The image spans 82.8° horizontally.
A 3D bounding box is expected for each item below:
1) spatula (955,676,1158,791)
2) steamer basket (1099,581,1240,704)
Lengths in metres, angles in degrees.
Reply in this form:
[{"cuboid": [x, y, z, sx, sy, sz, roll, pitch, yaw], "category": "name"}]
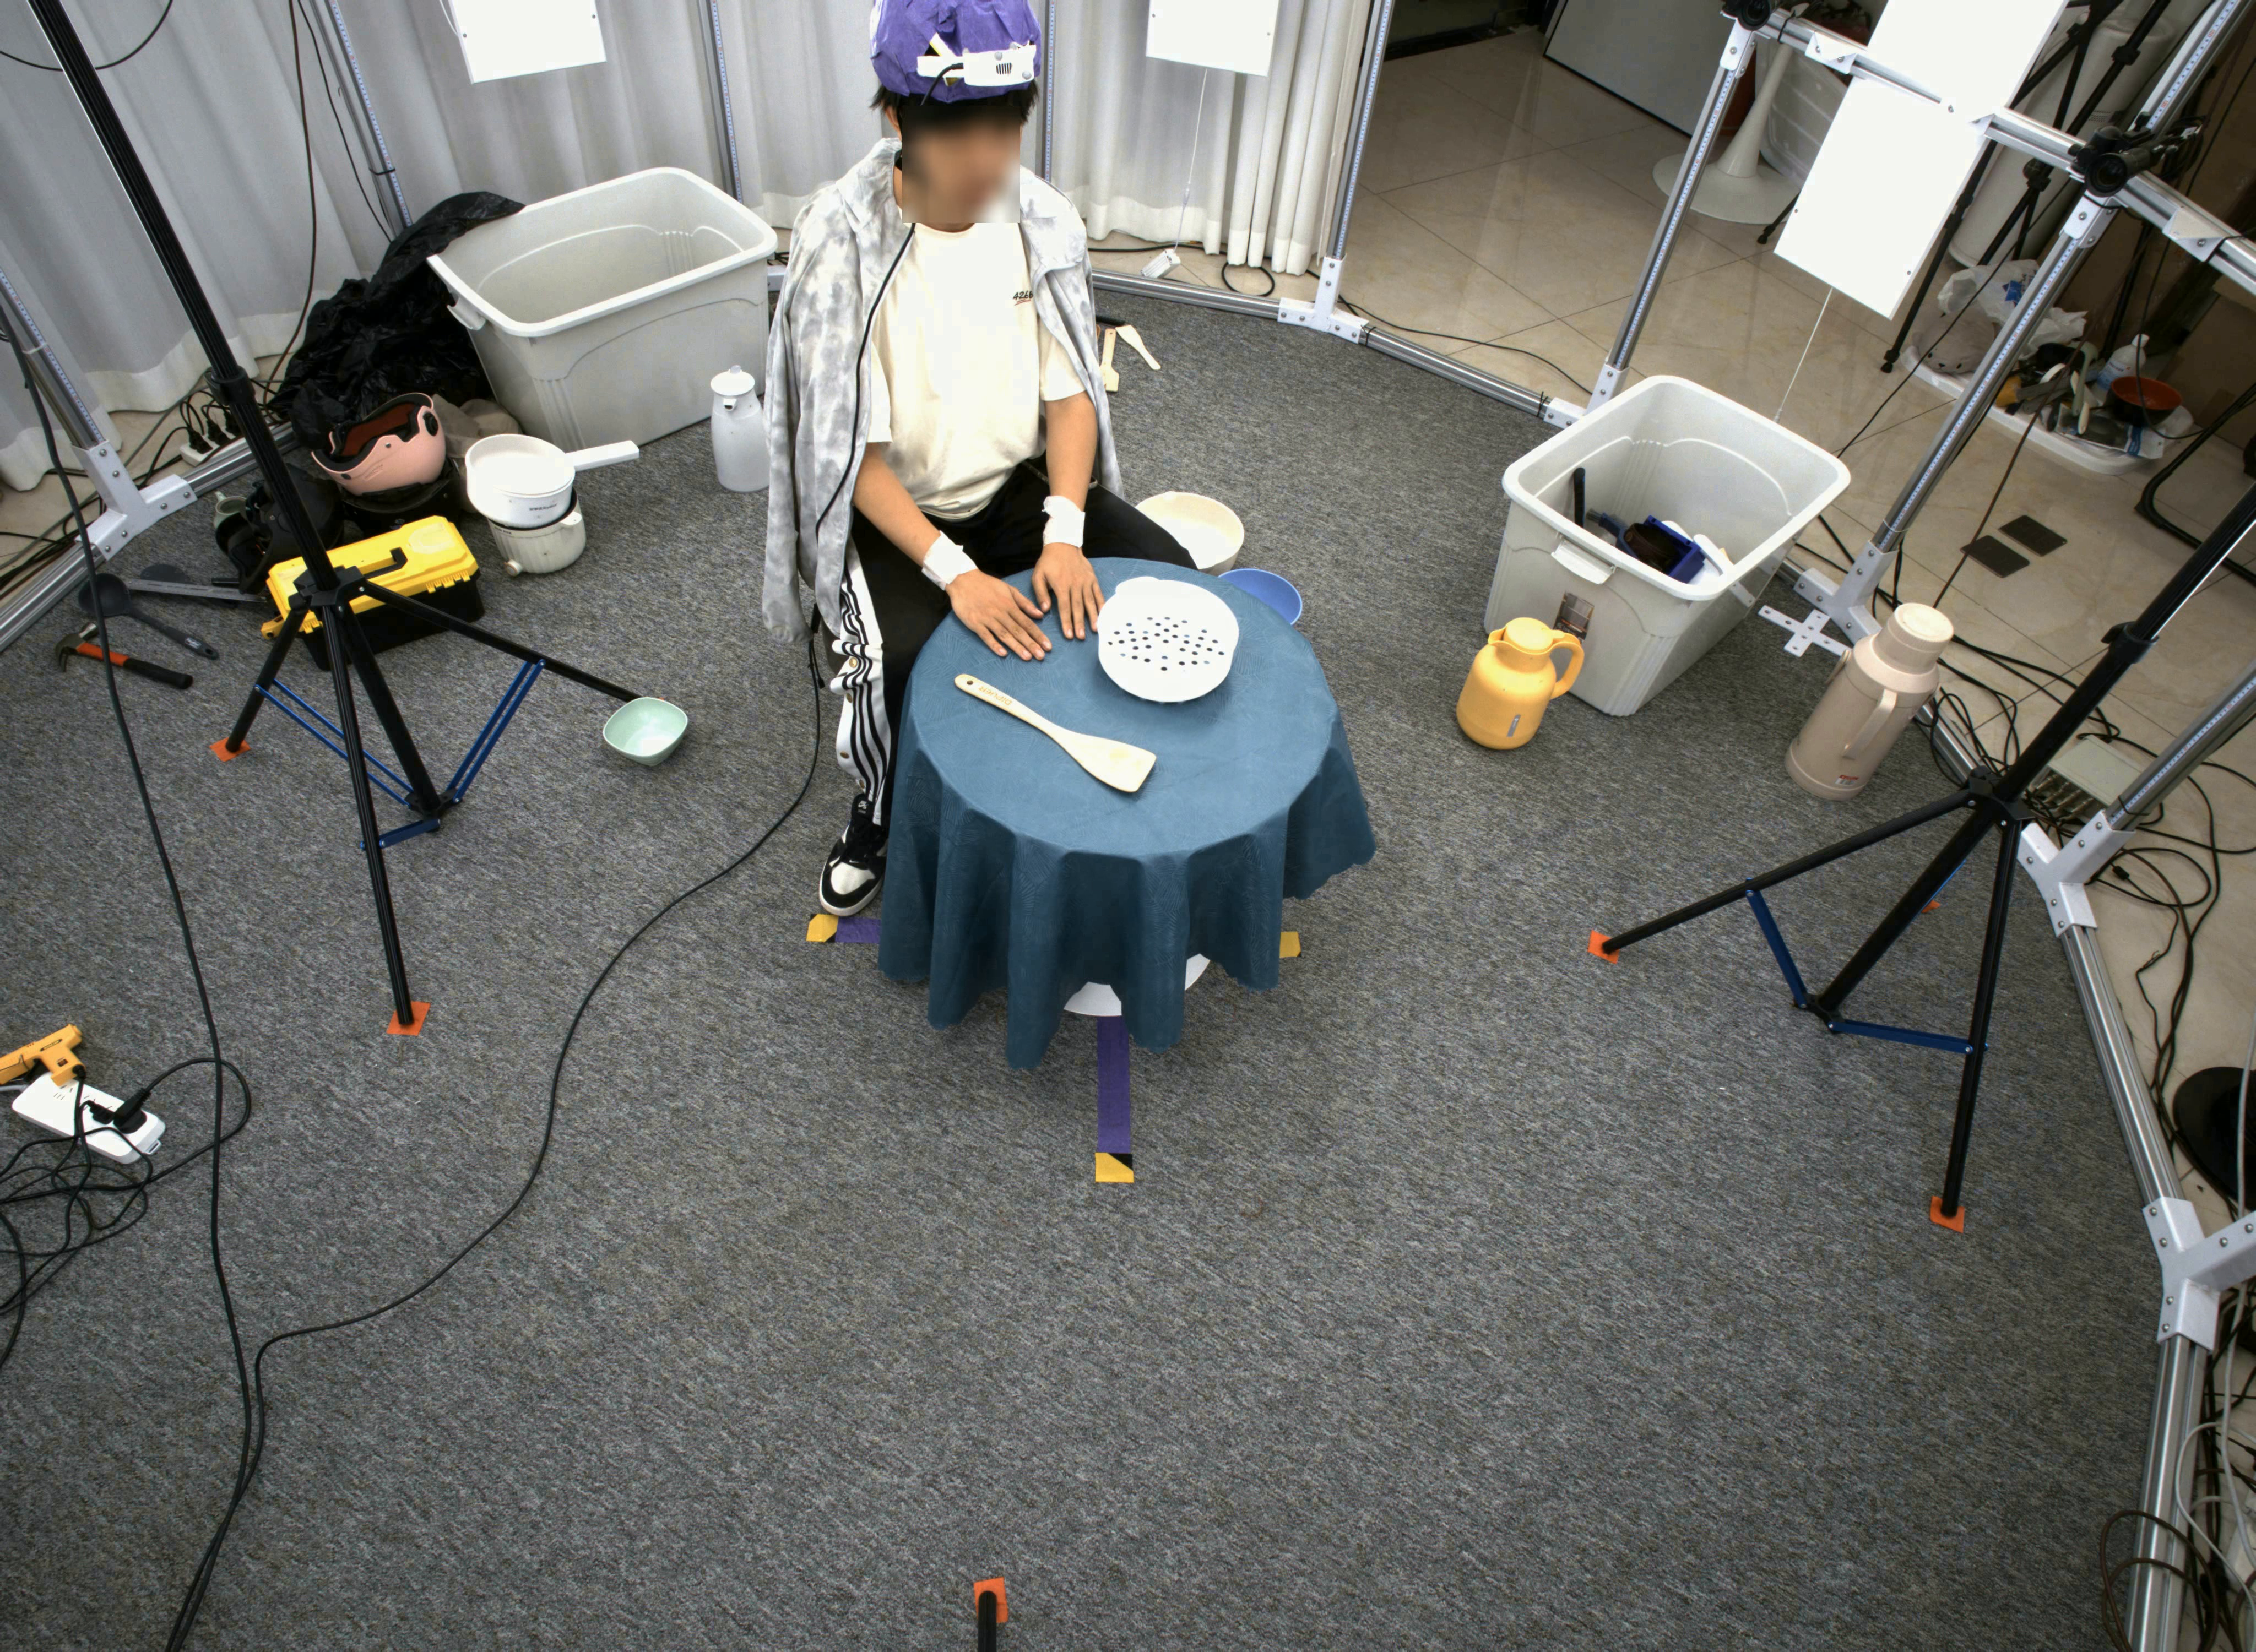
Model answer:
[{"cuboid": [-0.104, -0.137, 1.761, 0.331, 0.016, 0.081, 29, 52, 20], "category": "spatula"}, {"cuboid": [0.058, -0.261, 1.850, 0.202, 0.067, 0.236, -17, 51, -20], "category": "steamer basket"}]
